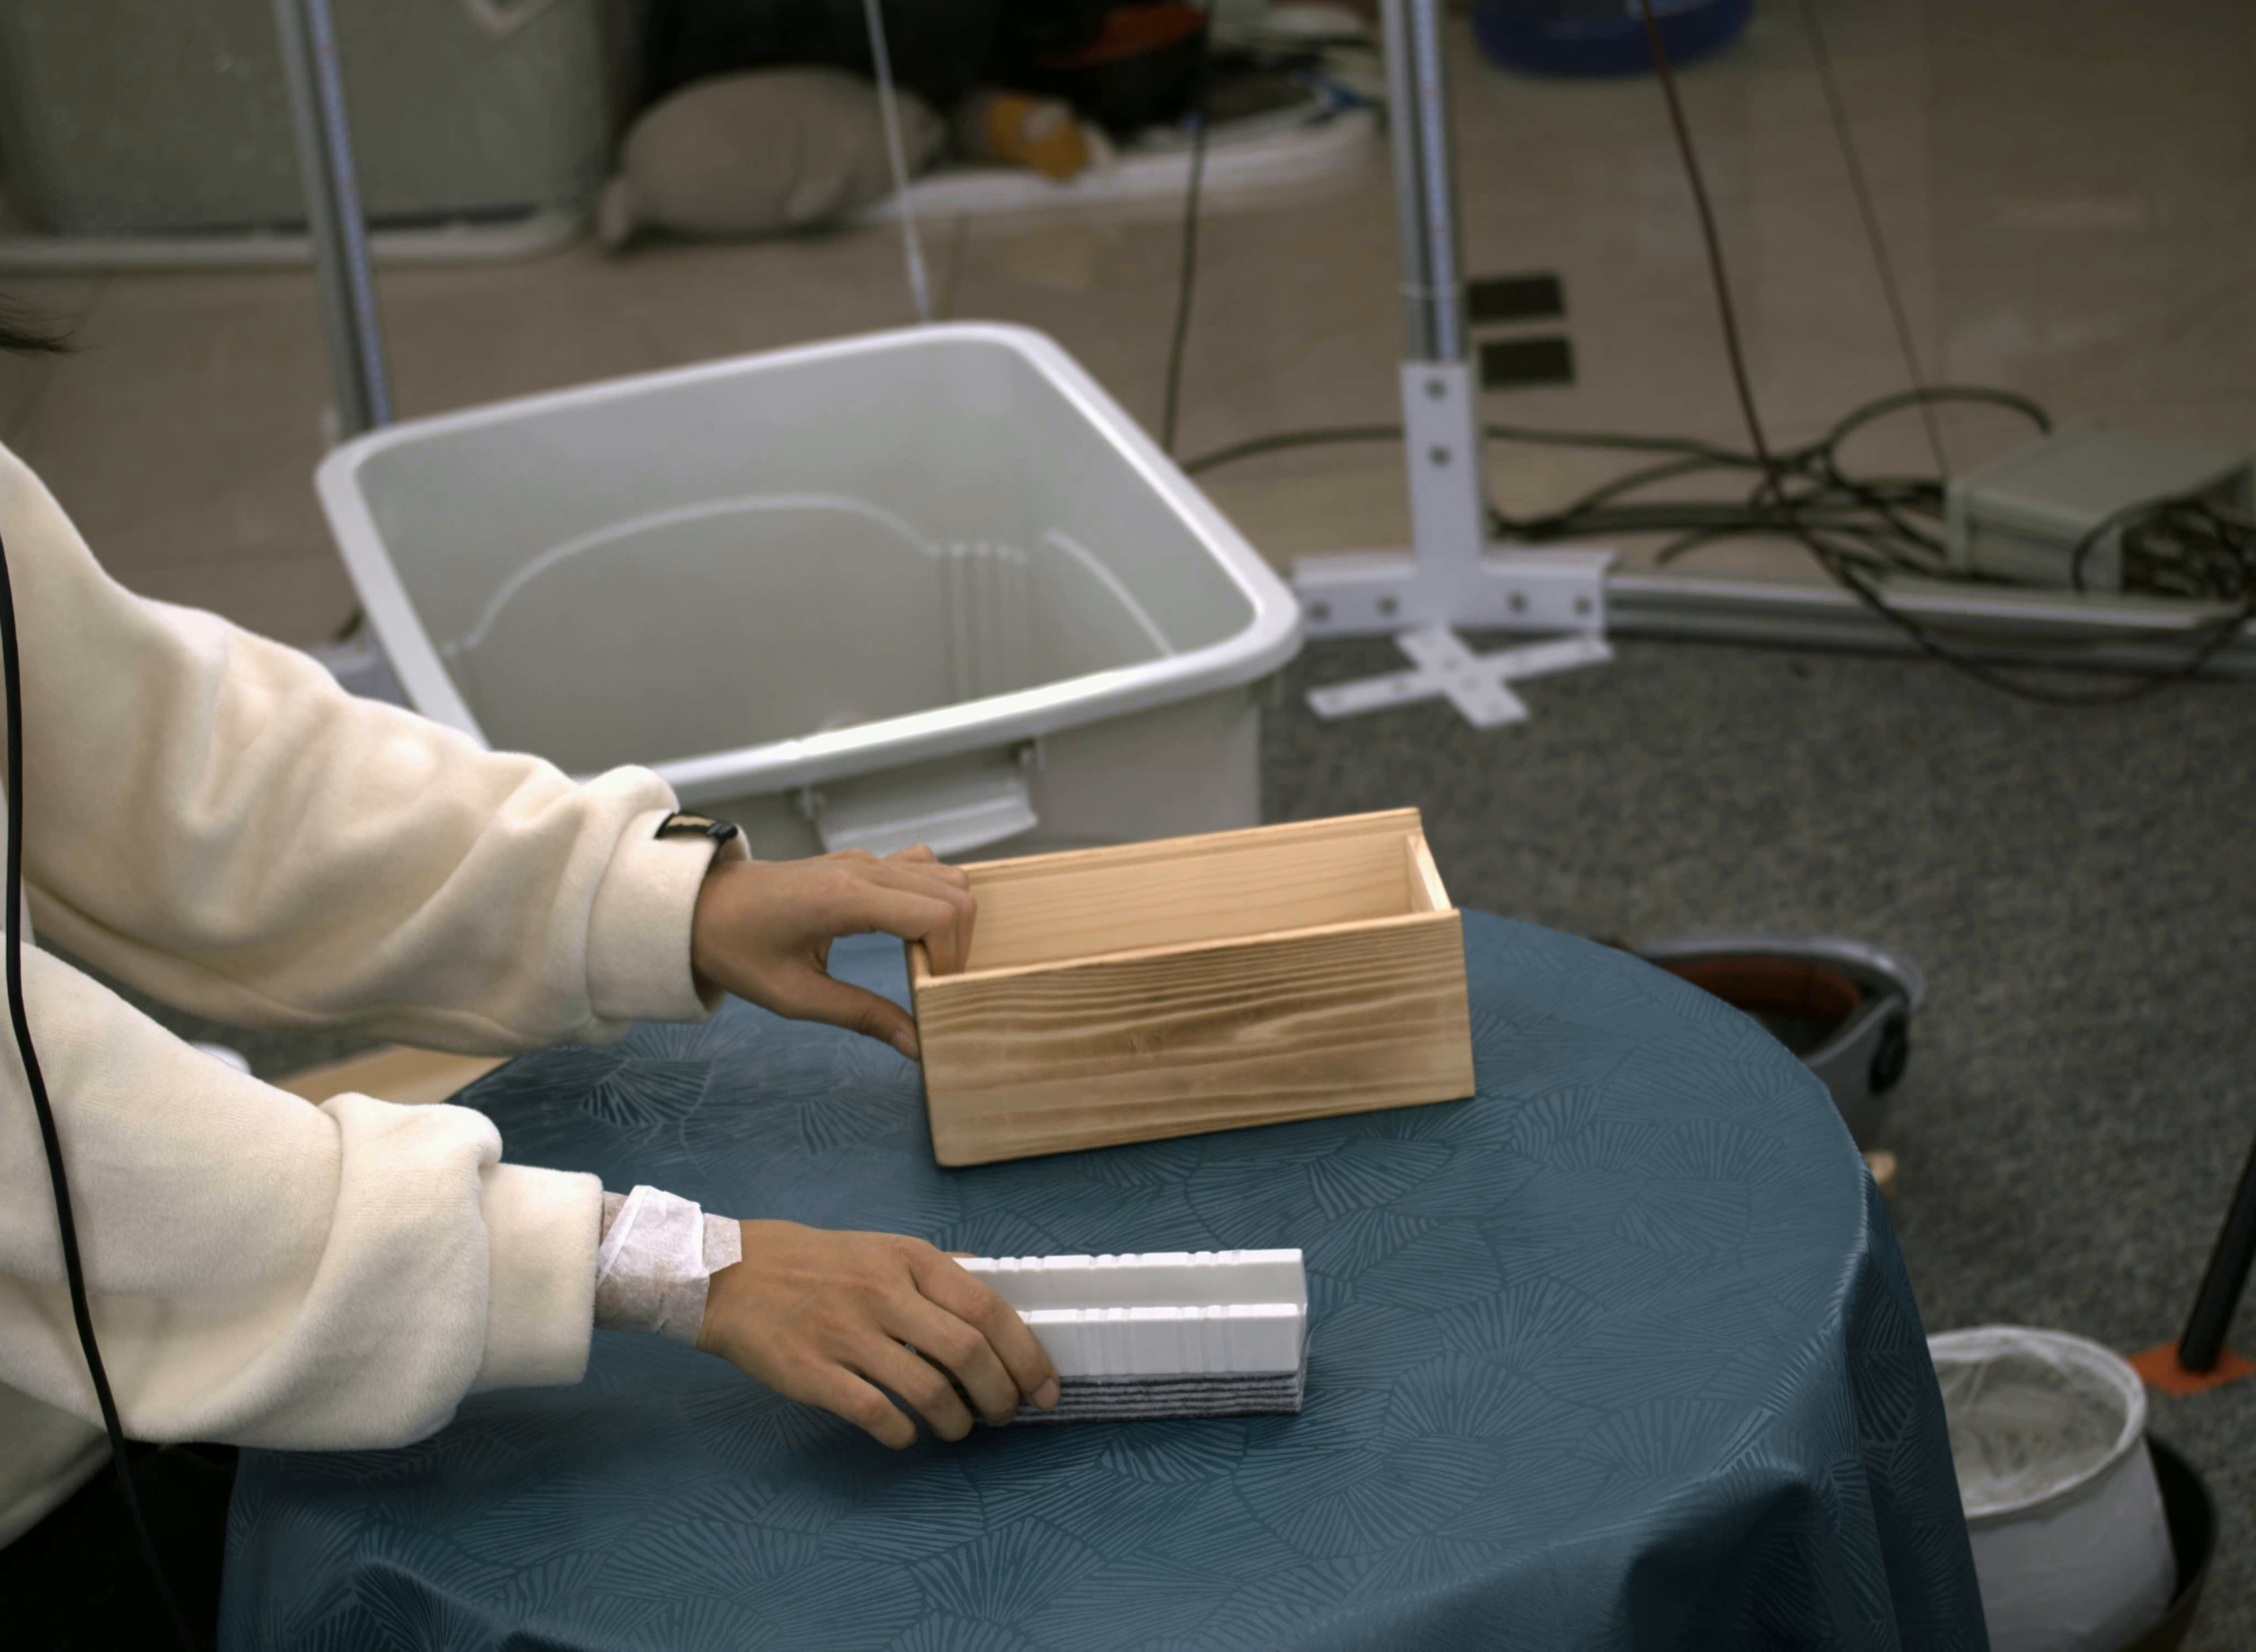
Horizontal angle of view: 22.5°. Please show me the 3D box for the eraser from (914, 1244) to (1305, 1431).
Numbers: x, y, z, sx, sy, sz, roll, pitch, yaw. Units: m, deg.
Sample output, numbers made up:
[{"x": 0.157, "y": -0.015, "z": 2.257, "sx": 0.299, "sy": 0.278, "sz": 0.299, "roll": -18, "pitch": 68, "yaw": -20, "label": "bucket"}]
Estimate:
[{"x": -0.005, "y": 0.181, "z": 2.003, "sx": 0.134, "sy": 0.047, "sz": 0.049, "roll": -3, "pitch": 28, "yaw": 5, "label": "eraser"}]

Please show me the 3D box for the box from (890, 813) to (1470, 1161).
[{"x": 0.019, "y": 0.061, "z": 2.209, "sx": 0.211, "sy": 0.081, "sz": 0.106, "roll": -7, "pitch": 24, "yaw": -5, "label": "box"}]
